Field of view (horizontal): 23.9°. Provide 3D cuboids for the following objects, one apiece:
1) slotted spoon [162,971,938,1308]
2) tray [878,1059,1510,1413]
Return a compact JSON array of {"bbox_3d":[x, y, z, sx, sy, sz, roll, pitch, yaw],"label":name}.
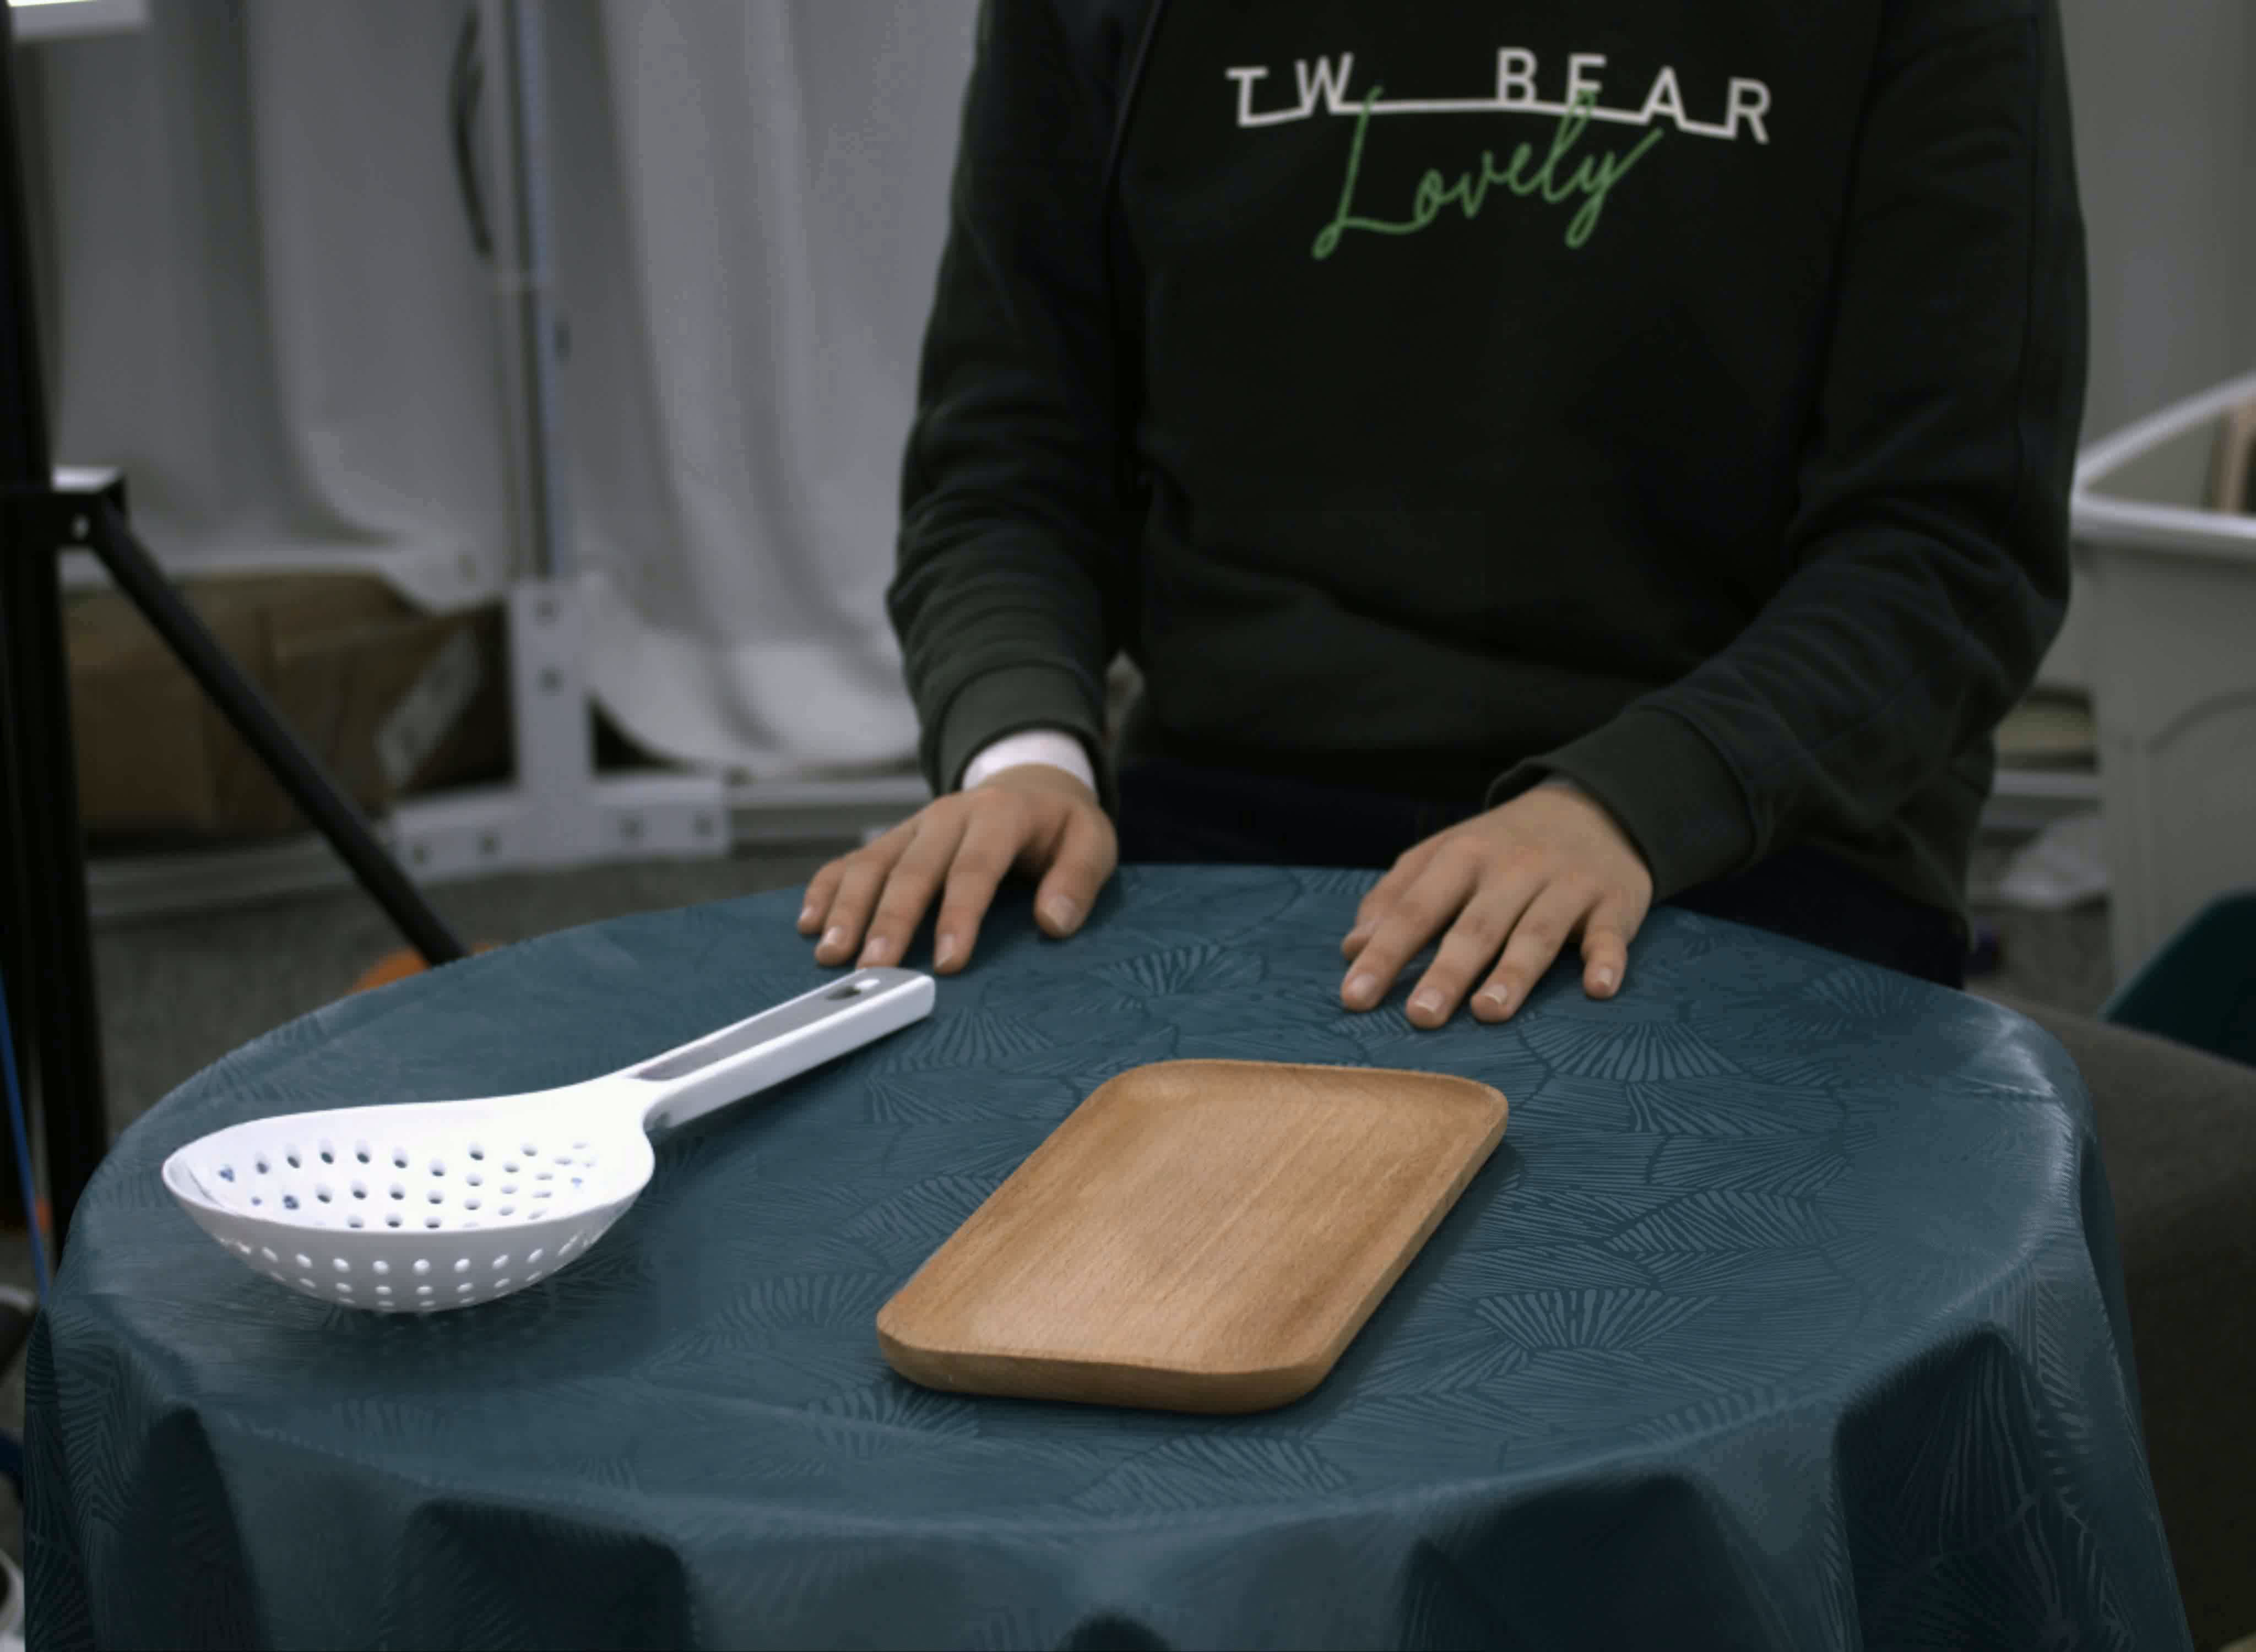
[{"bbox_3d":[-0.152,0.084,1.586,0.138,0.046,0.344,8,18,27],"label":"slotted spoon"},{"bbox_3d":[0.024,0.113,1.505,0.132,0.023,0.248,5,16,18],"label":"tray"}]
